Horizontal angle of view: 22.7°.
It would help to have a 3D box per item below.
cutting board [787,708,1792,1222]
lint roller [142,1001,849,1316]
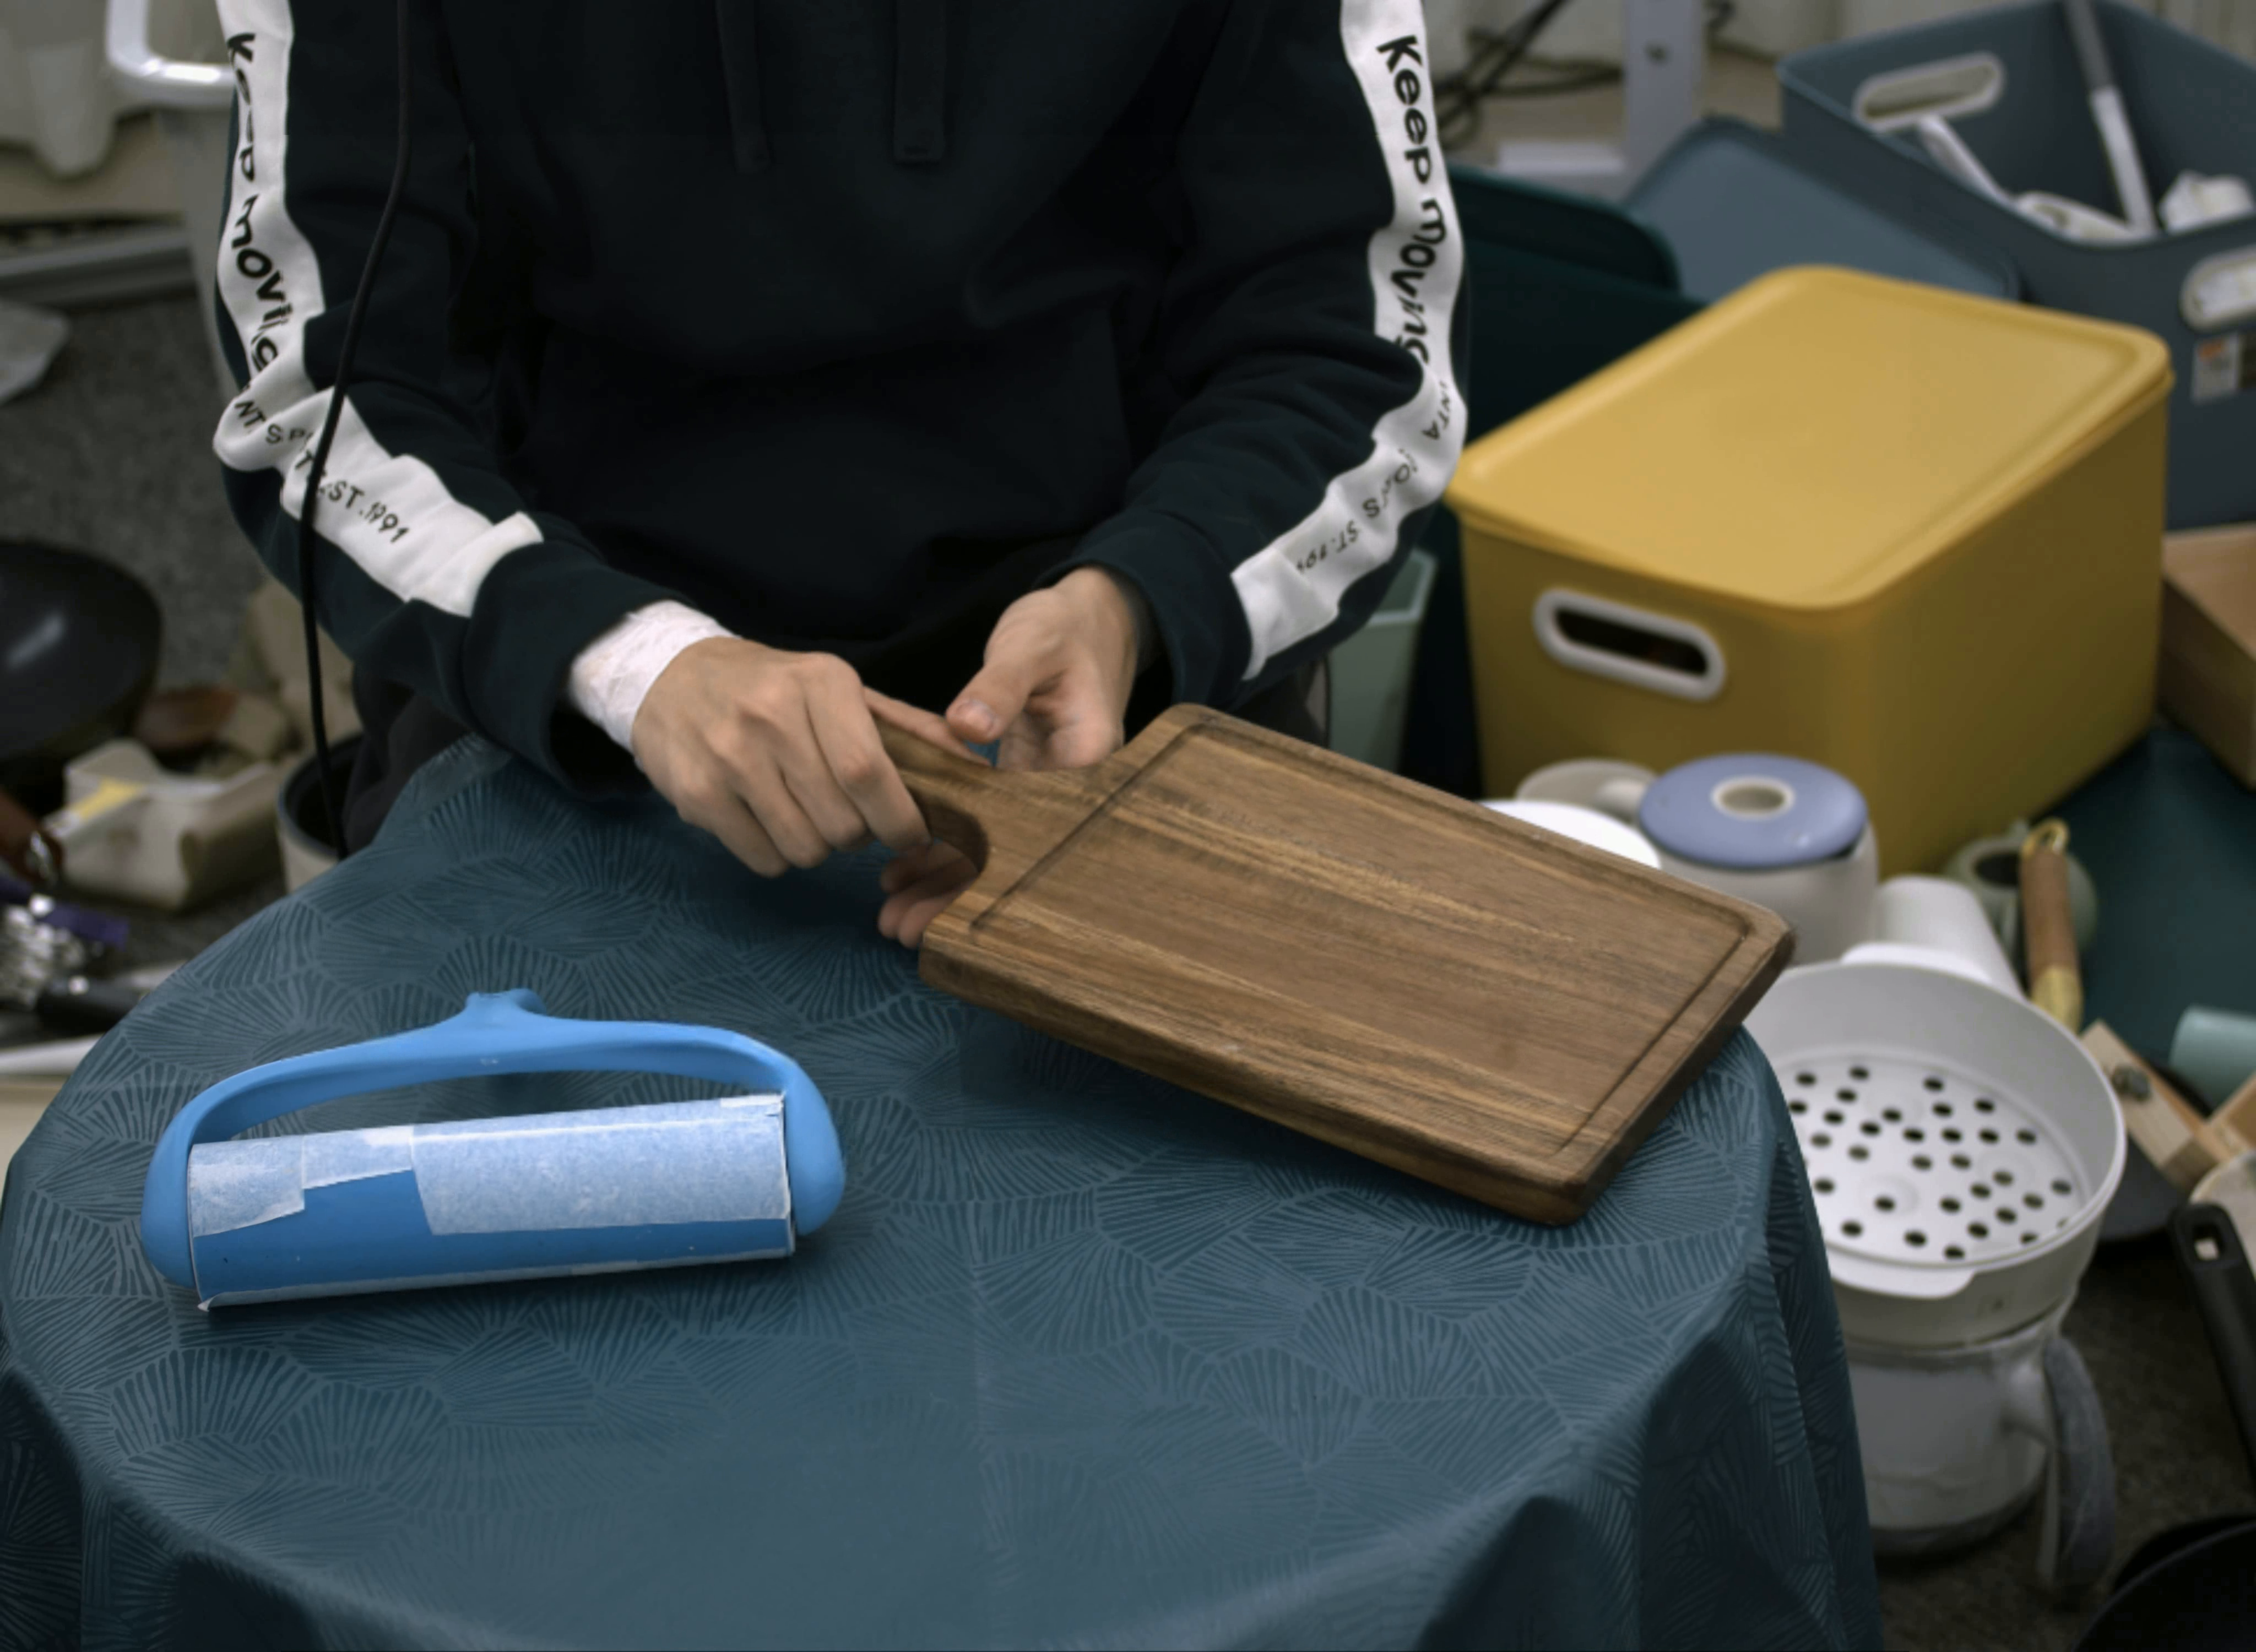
[{"bbox_3d":[0.037,0.027,1.955,0.351,0.023,0.204,19,33,20],"label":"cutting board"},{"bbox_3d":[-0.212,0.094,1.872,0.228,0.067,0.182,-7,29,-5],"label":"lint roller"}]
